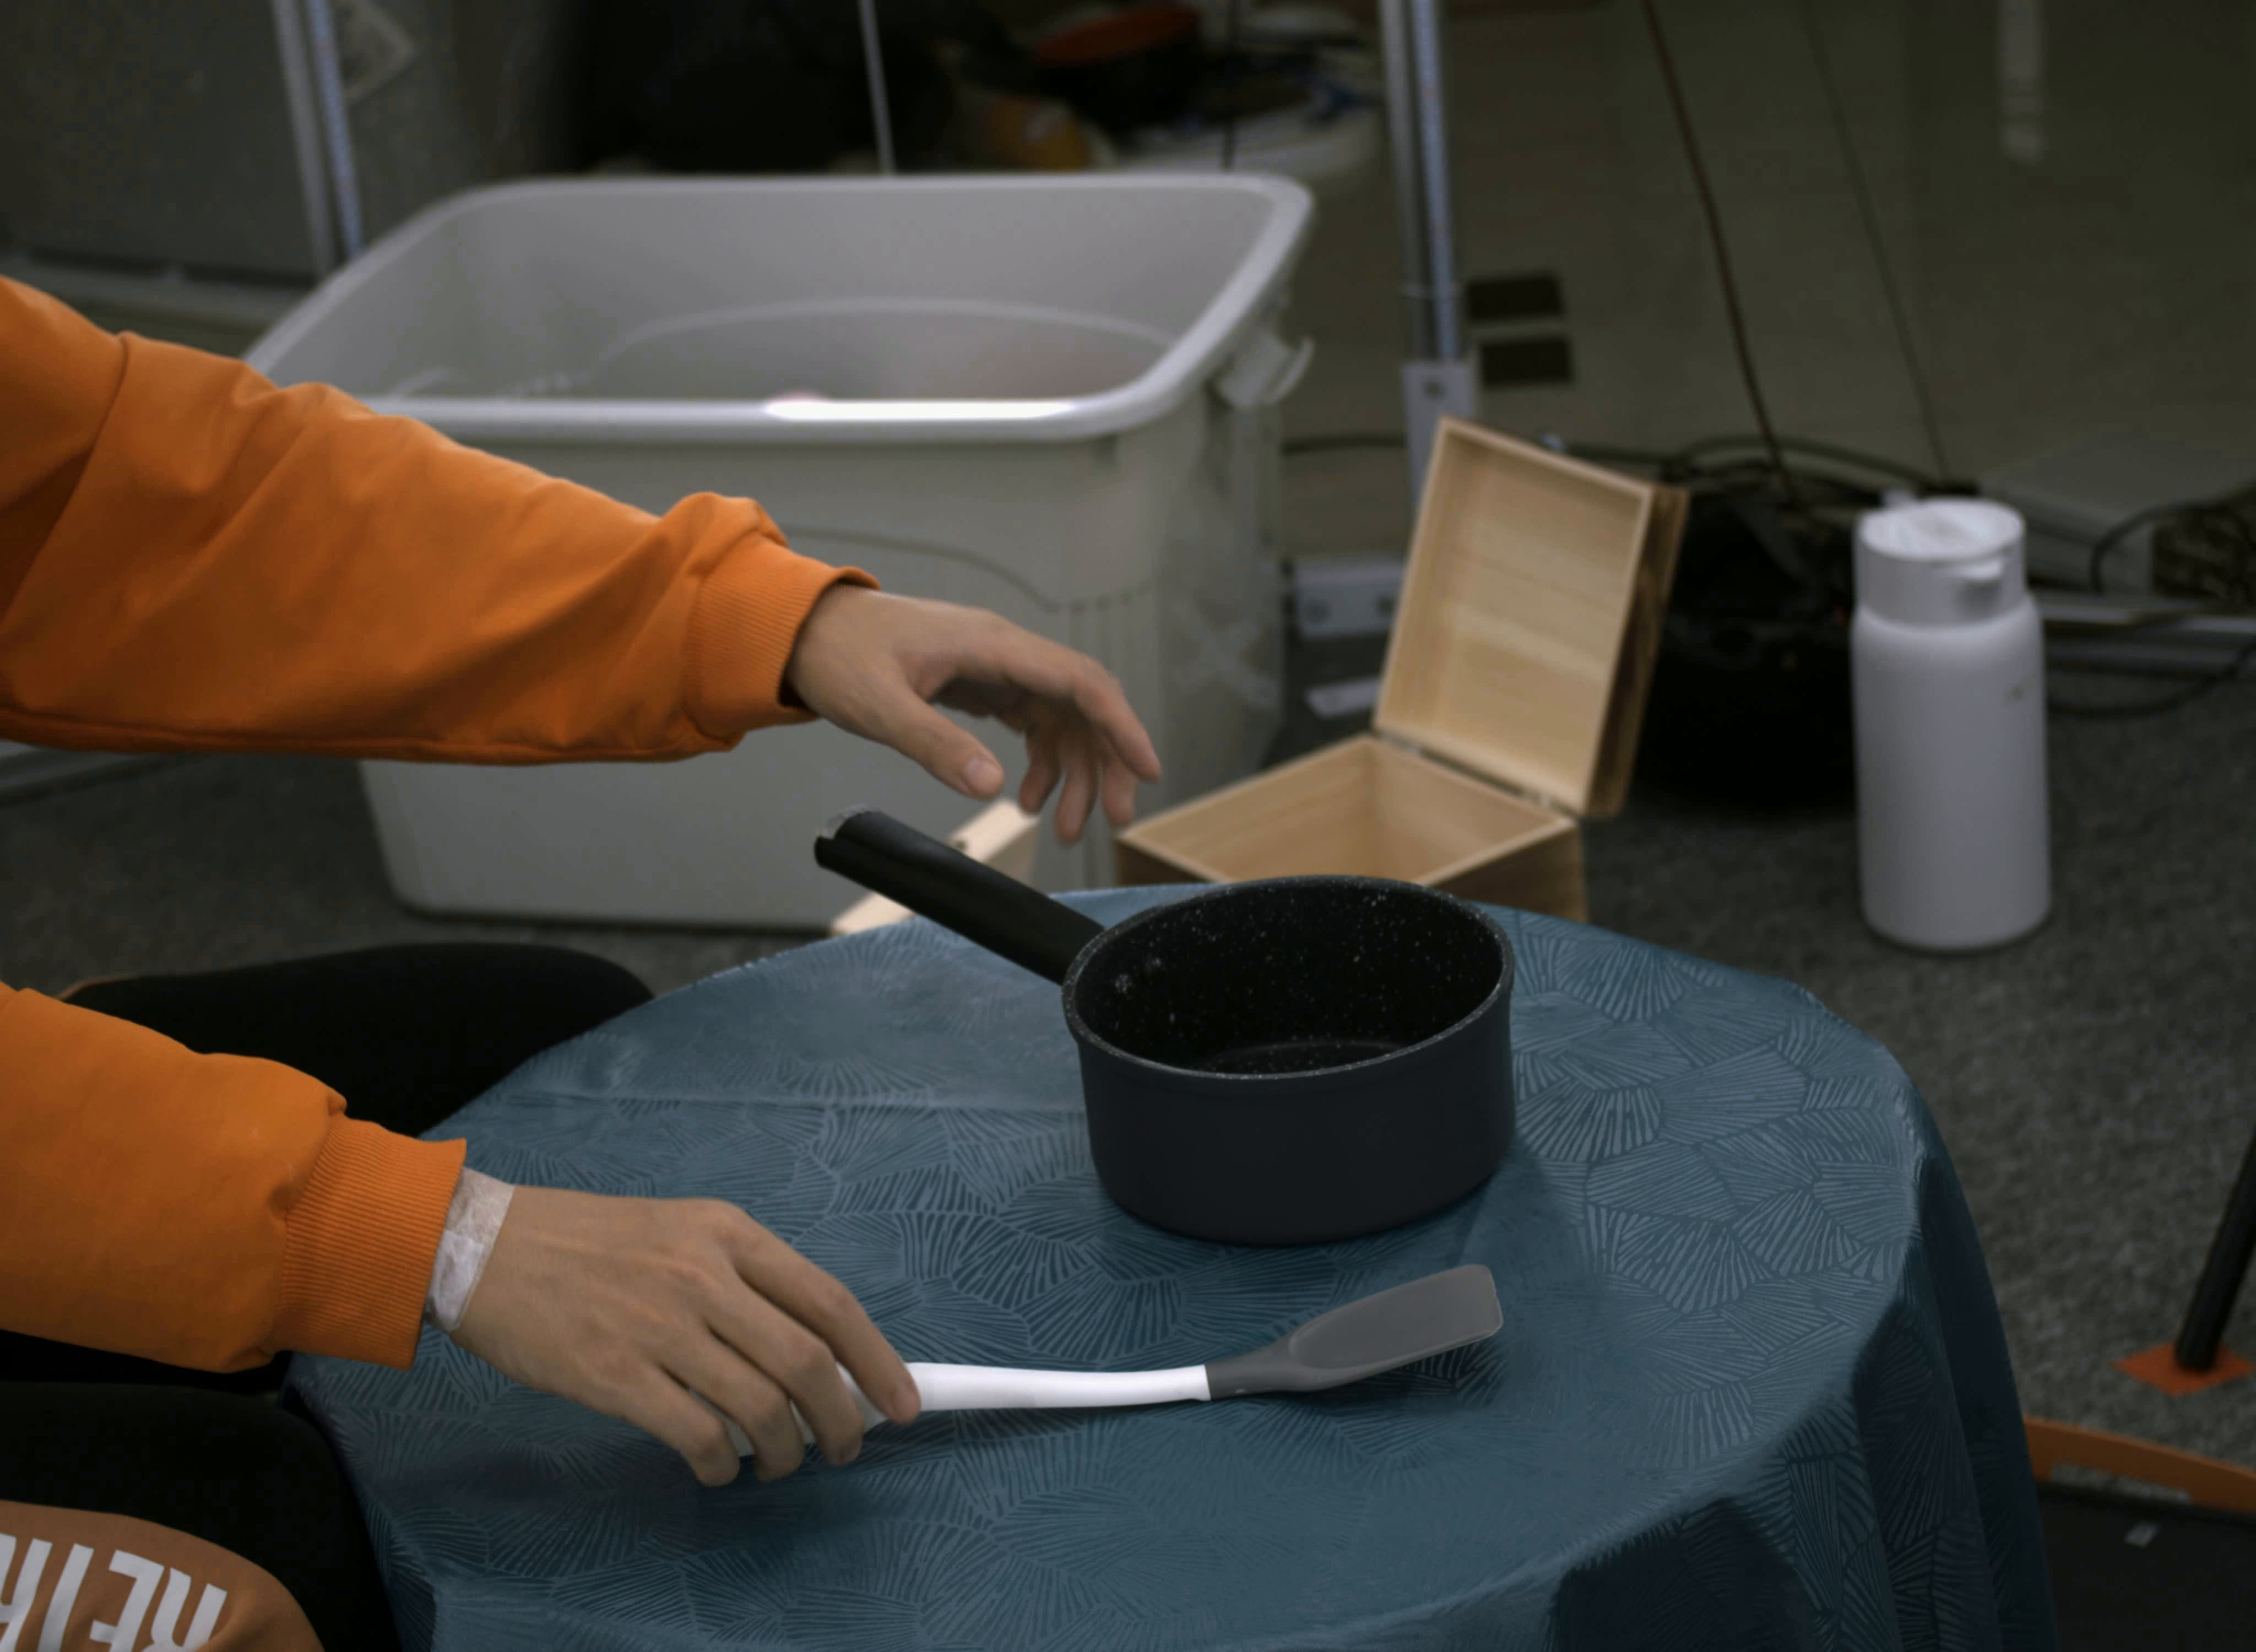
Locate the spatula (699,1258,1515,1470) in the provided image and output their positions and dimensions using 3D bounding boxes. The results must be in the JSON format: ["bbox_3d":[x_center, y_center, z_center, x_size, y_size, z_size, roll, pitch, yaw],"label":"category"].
[{"bbox_3d":[-0.007,0.191,1.999,0.287,0.032,0.058,-8,22,-1],"label":"spatula"}]

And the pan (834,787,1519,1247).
[{"bbox_3d":[0.007,0.067,2.198,0.326,0.088,0.170,20,35,41],"label":"pan"}]
